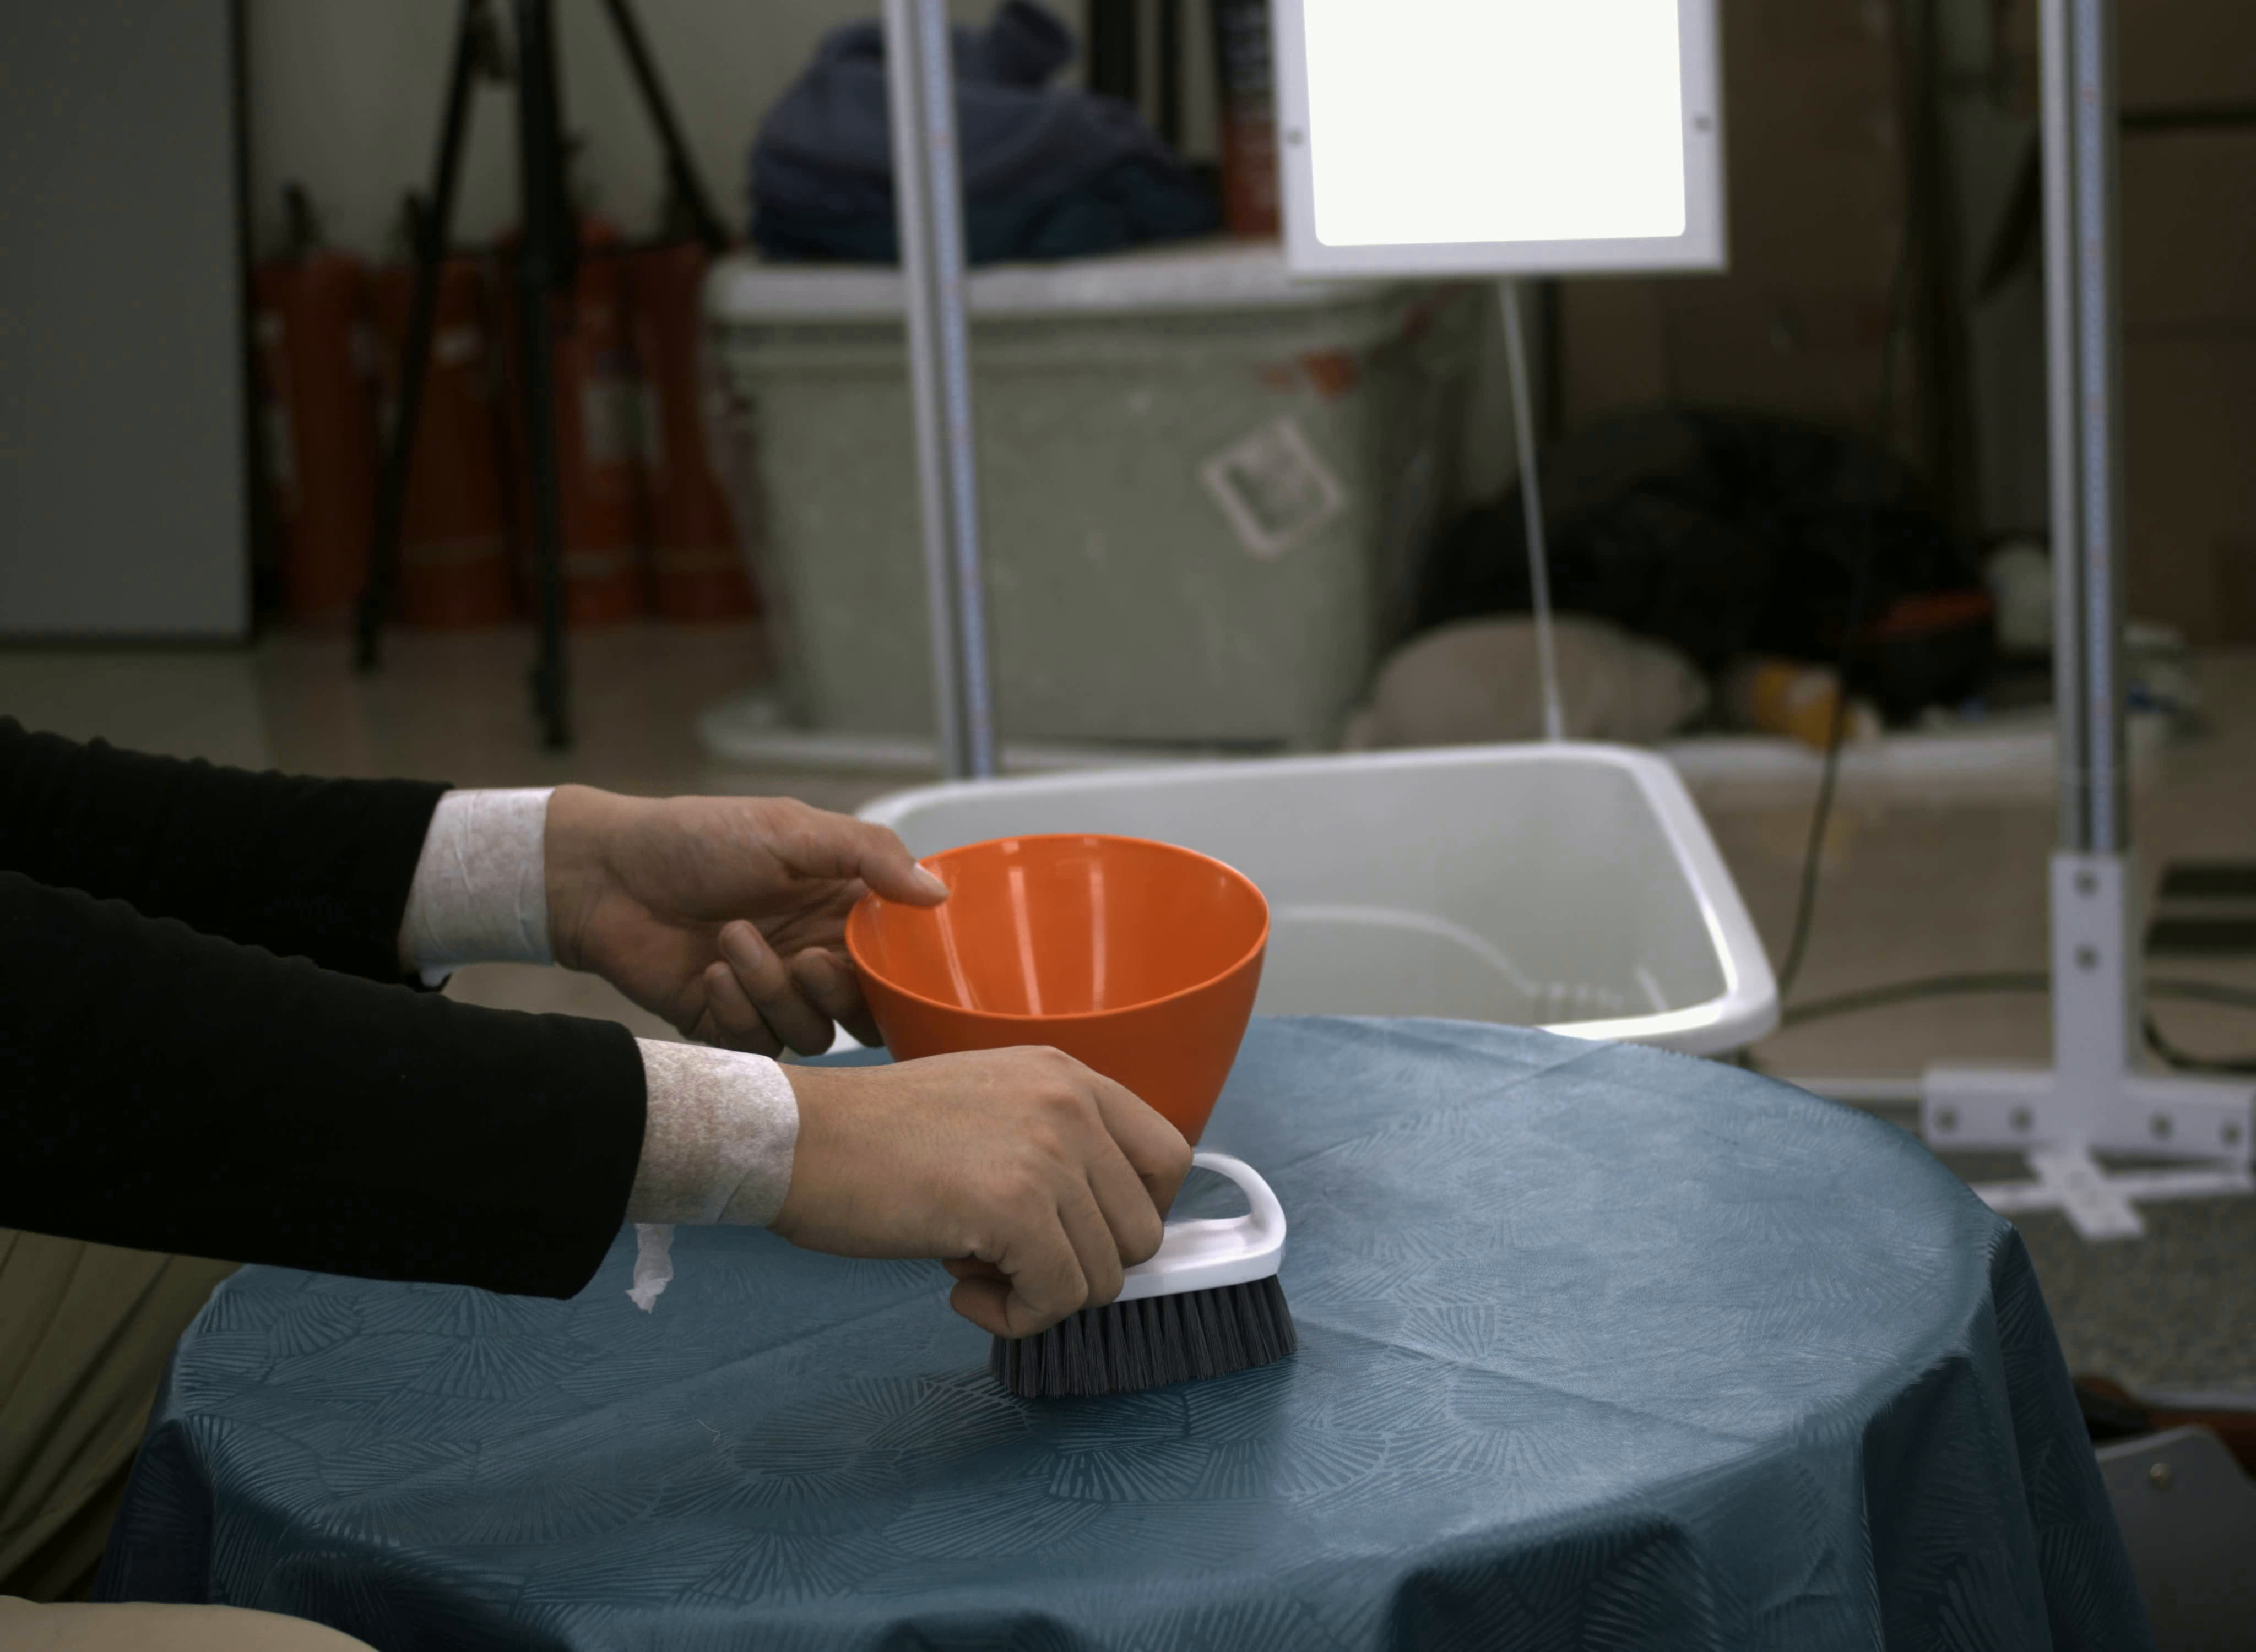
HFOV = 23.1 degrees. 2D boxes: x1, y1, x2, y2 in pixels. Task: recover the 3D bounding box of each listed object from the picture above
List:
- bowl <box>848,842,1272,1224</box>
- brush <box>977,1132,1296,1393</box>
[{"bbox_3d":[-0.020,0.075,1.910,0.147,0.105,0.148,-6,15,0],"label":"bowl"},{"bbox_3d":[0.001,0.132,1.720,0.098,0.073,0.050,-7,15,-7],"label":"brush"}]
